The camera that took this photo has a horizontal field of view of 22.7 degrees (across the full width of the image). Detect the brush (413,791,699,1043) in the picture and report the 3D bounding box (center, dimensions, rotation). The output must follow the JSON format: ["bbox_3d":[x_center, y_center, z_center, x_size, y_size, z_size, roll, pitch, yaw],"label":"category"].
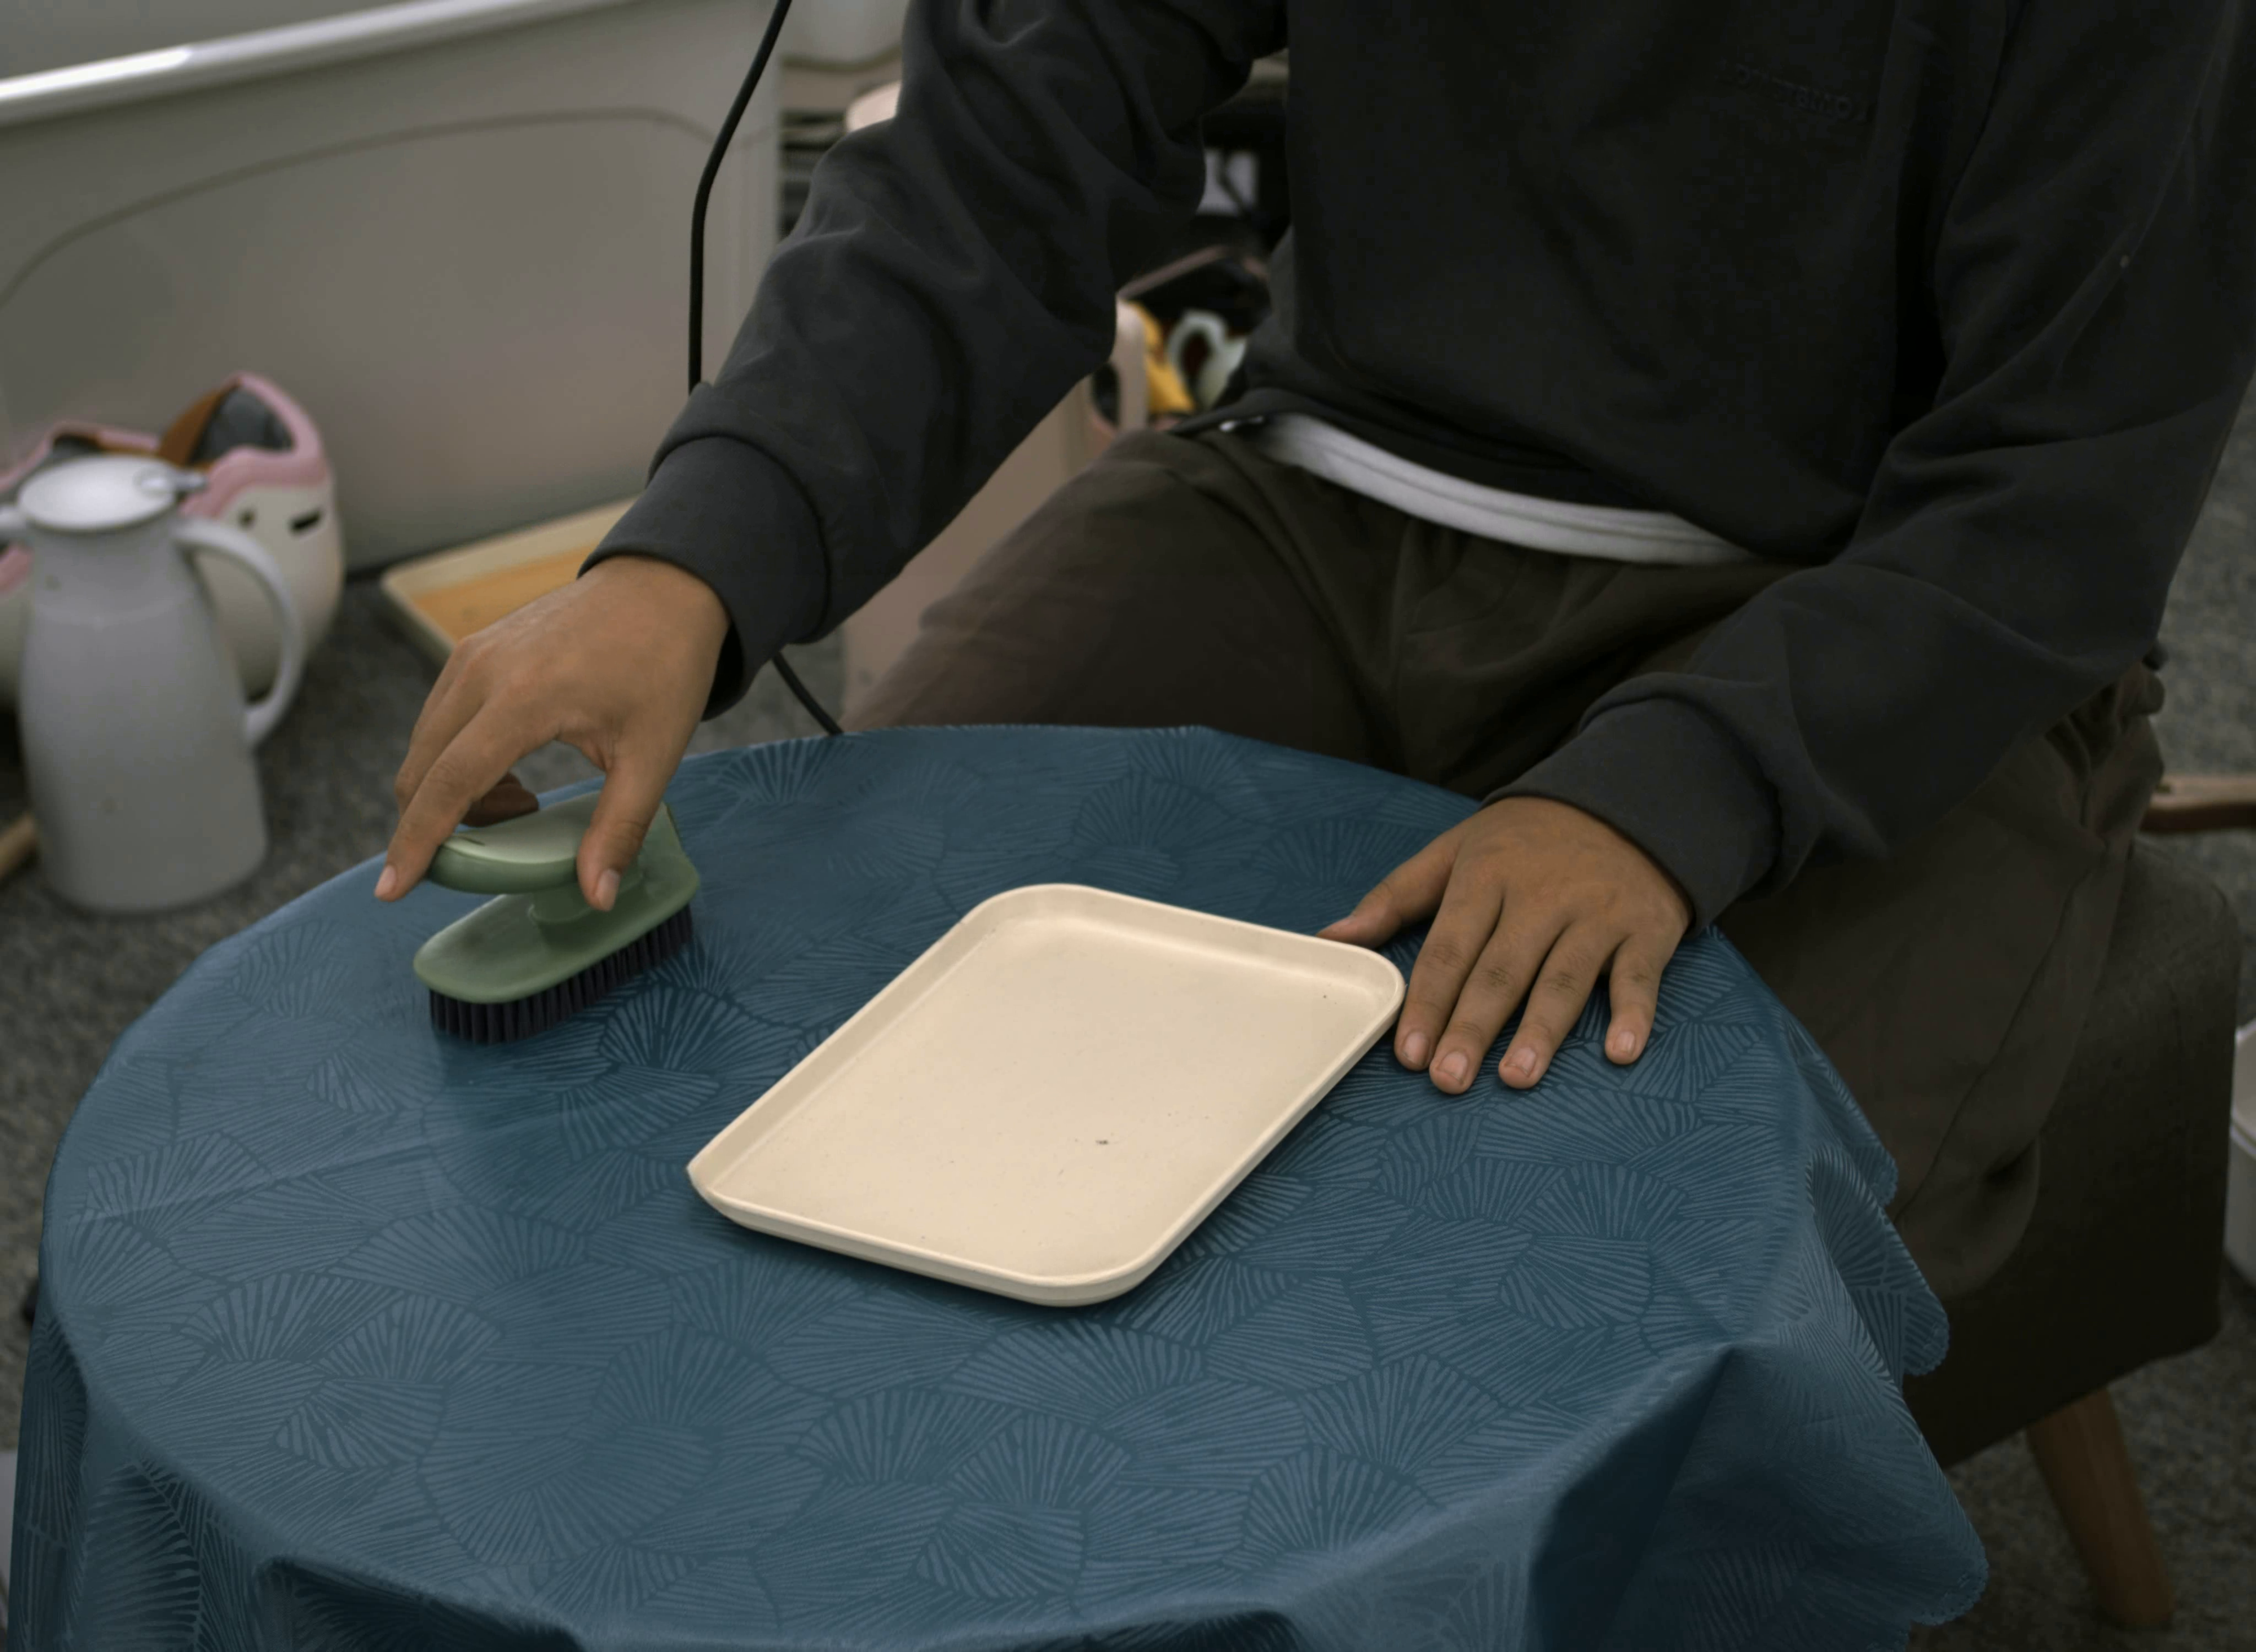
[{"bbox_3d":[-0.205,0.031,2.000,0.059,0.075,0.124,18,20,32],"label":"brush"}]

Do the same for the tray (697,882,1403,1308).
[{"bbox_3d":[-0.023,0.090,1.908,0.170,0.017,0.243,13,31,26],"label":"tray"}]
